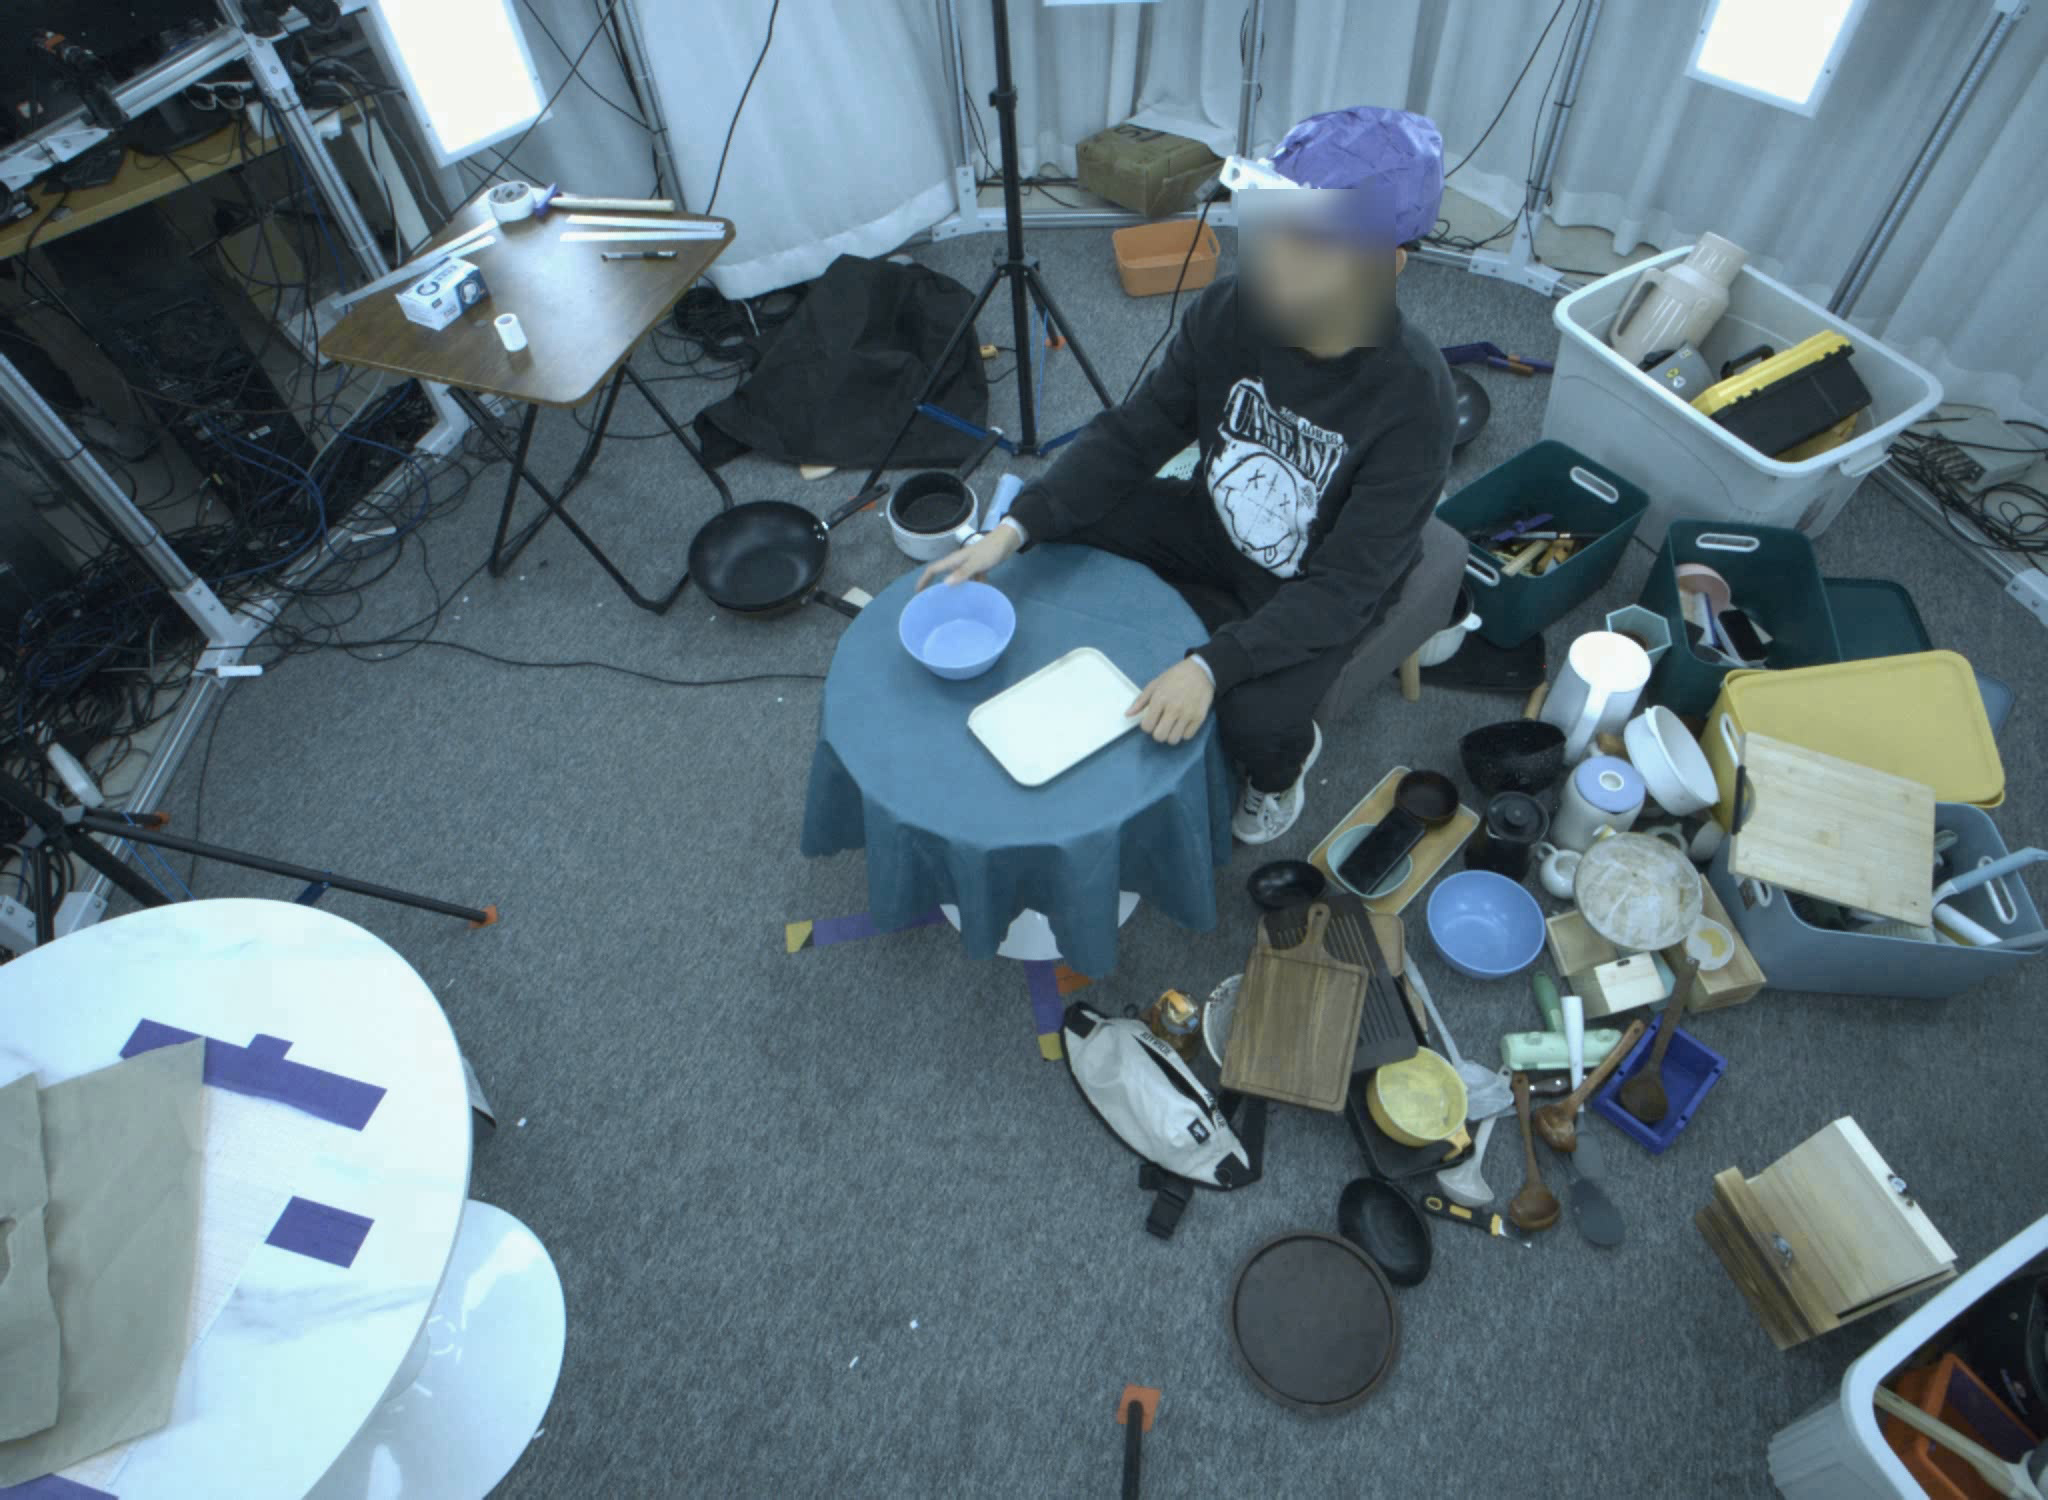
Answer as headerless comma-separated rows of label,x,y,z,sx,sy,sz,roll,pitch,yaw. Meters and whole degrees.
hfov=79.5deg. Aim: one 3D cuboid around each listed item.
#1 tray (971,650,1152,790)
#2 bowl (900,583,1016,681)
tray,0.056,-0.045,1.817,0.241,0.017,0.168,-32,60,-19
bowl,-0.098,-0.170,1.877,0.176,0.071,0.174,0,56,1
